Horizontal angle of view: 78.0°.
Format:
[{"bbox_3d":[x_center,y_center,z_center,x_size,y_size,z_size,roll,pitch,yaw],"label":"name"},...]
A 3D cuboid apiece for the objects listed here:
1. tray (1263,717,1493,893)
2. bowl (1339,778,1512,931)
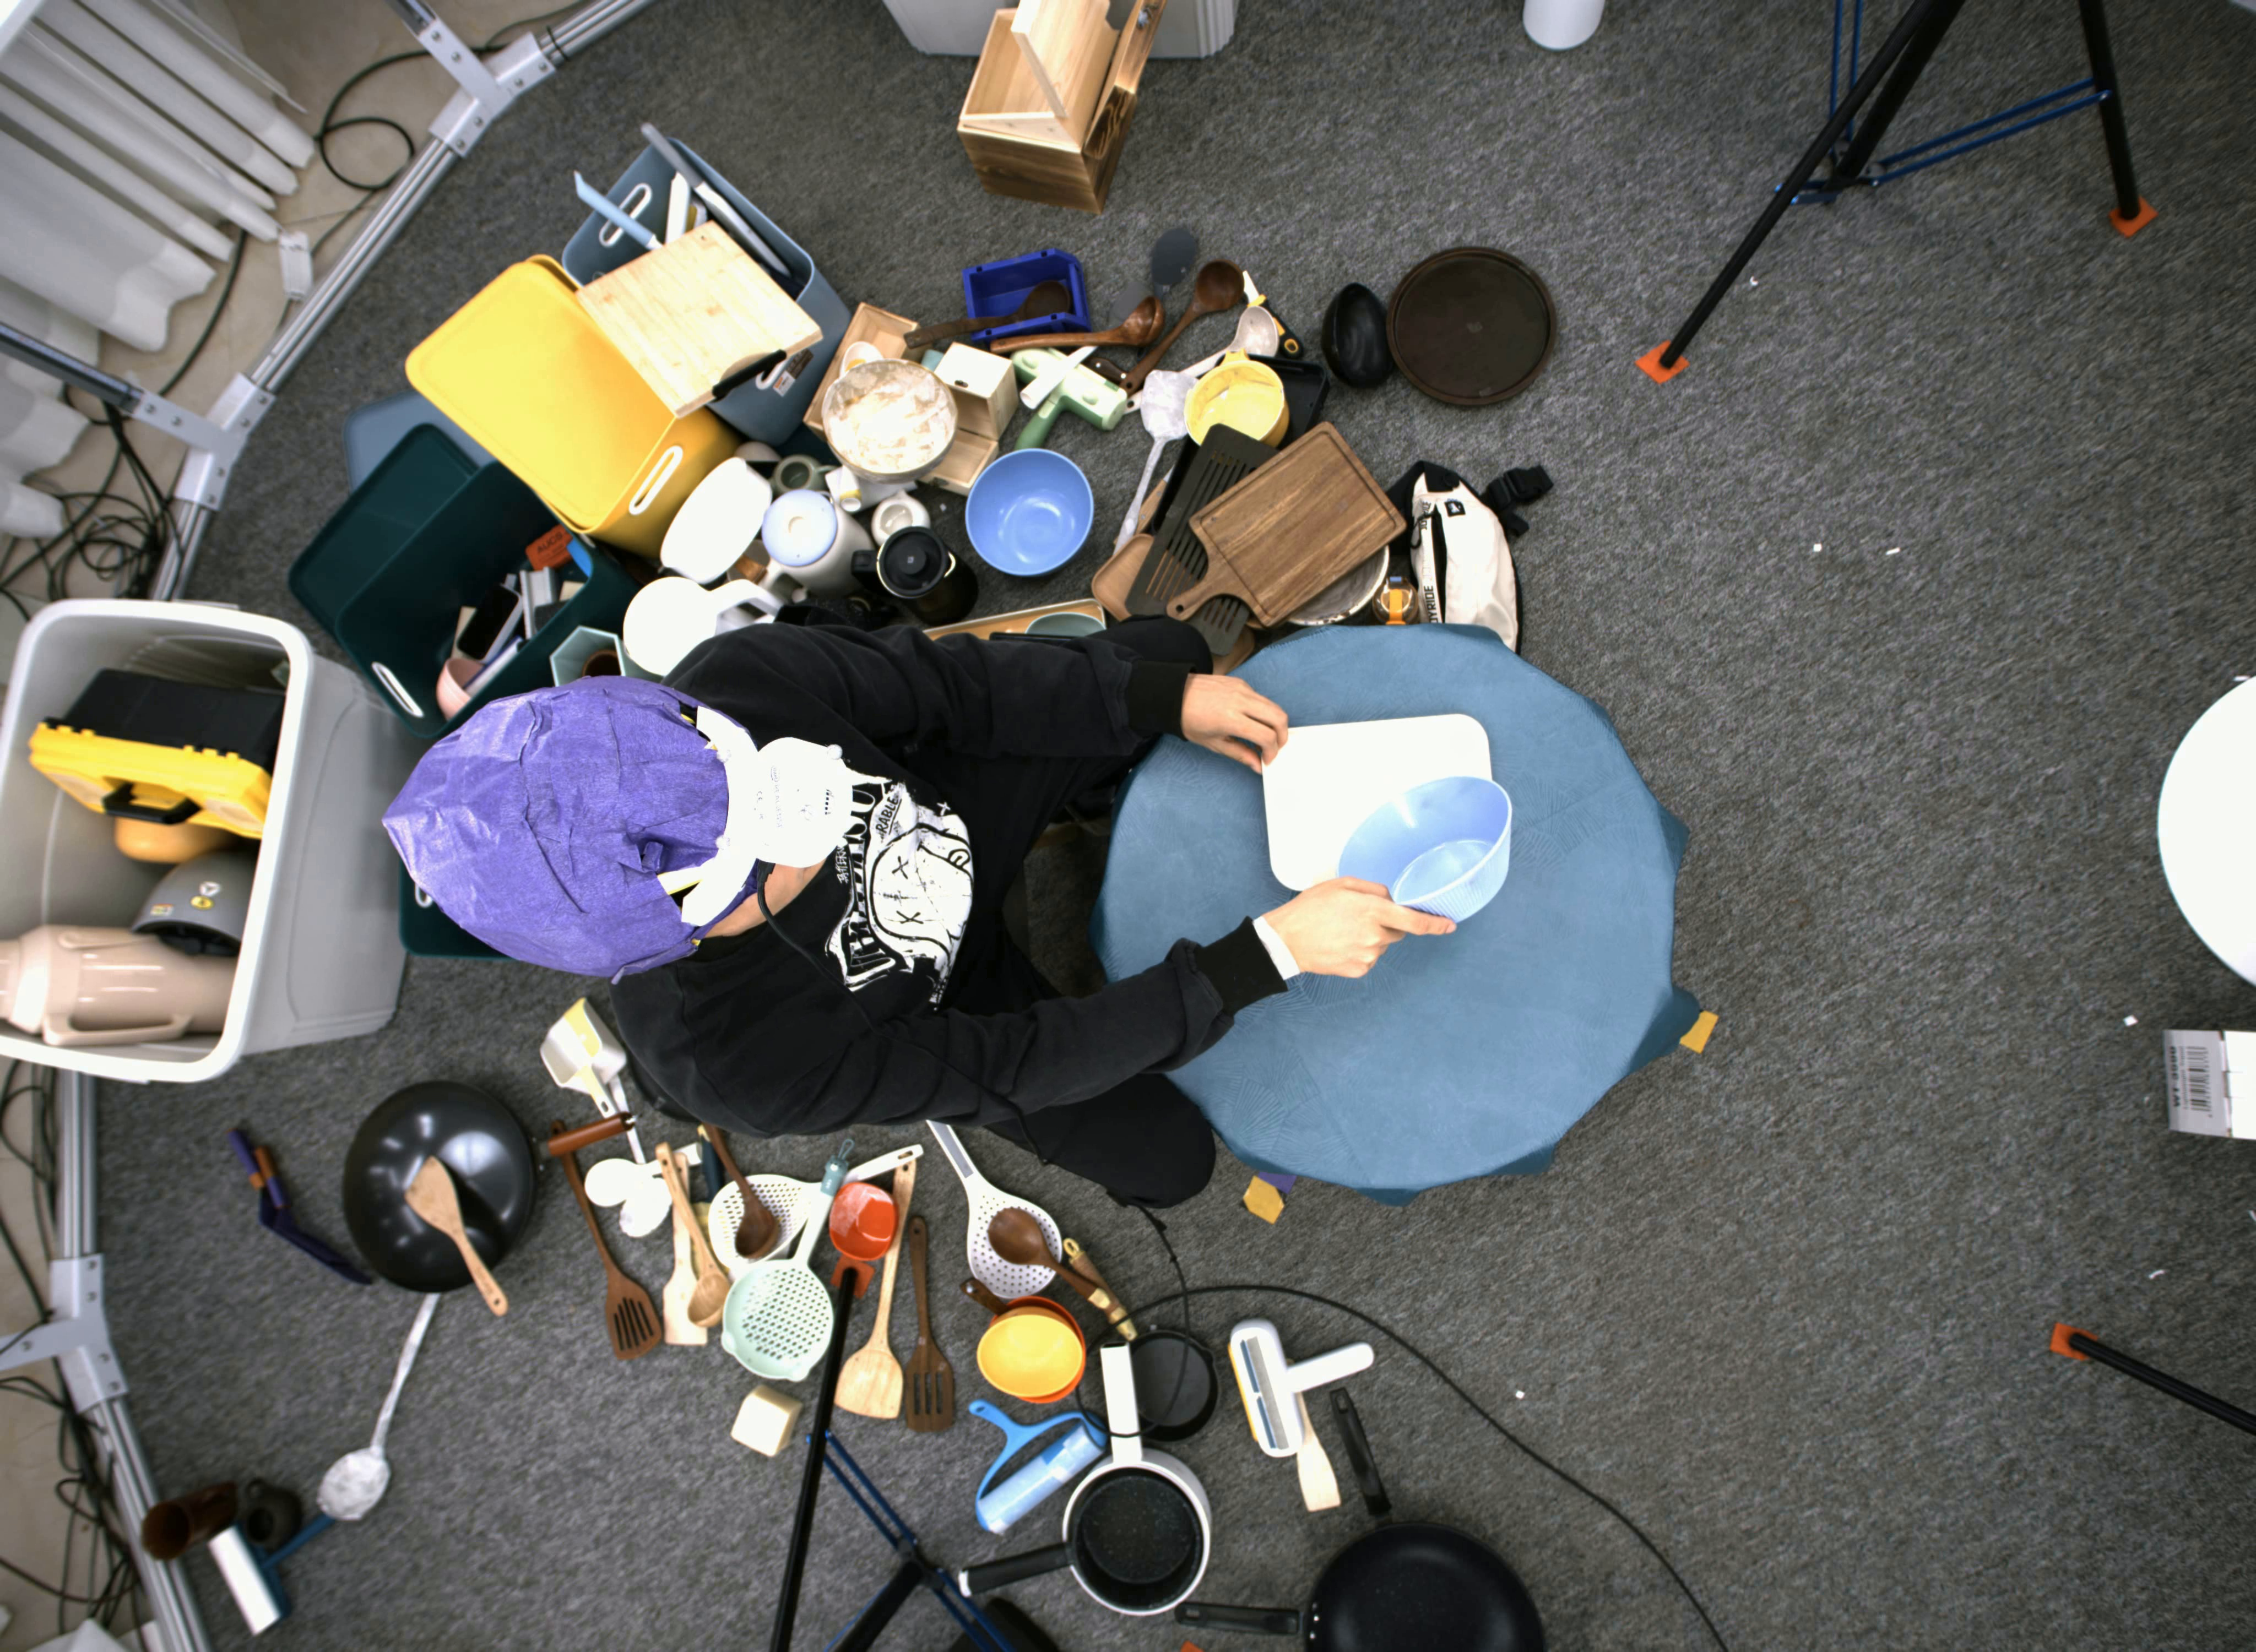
[{"bbox_3d":[0.265,-0.023,1.441,0.240,0.017,0.171,-5,88,0],"label":"tray"},{"bbox_3d":[0.292,0.035,1.304,0.177,0.173,0.071,-33,118,5],"label":"bowl"}]
